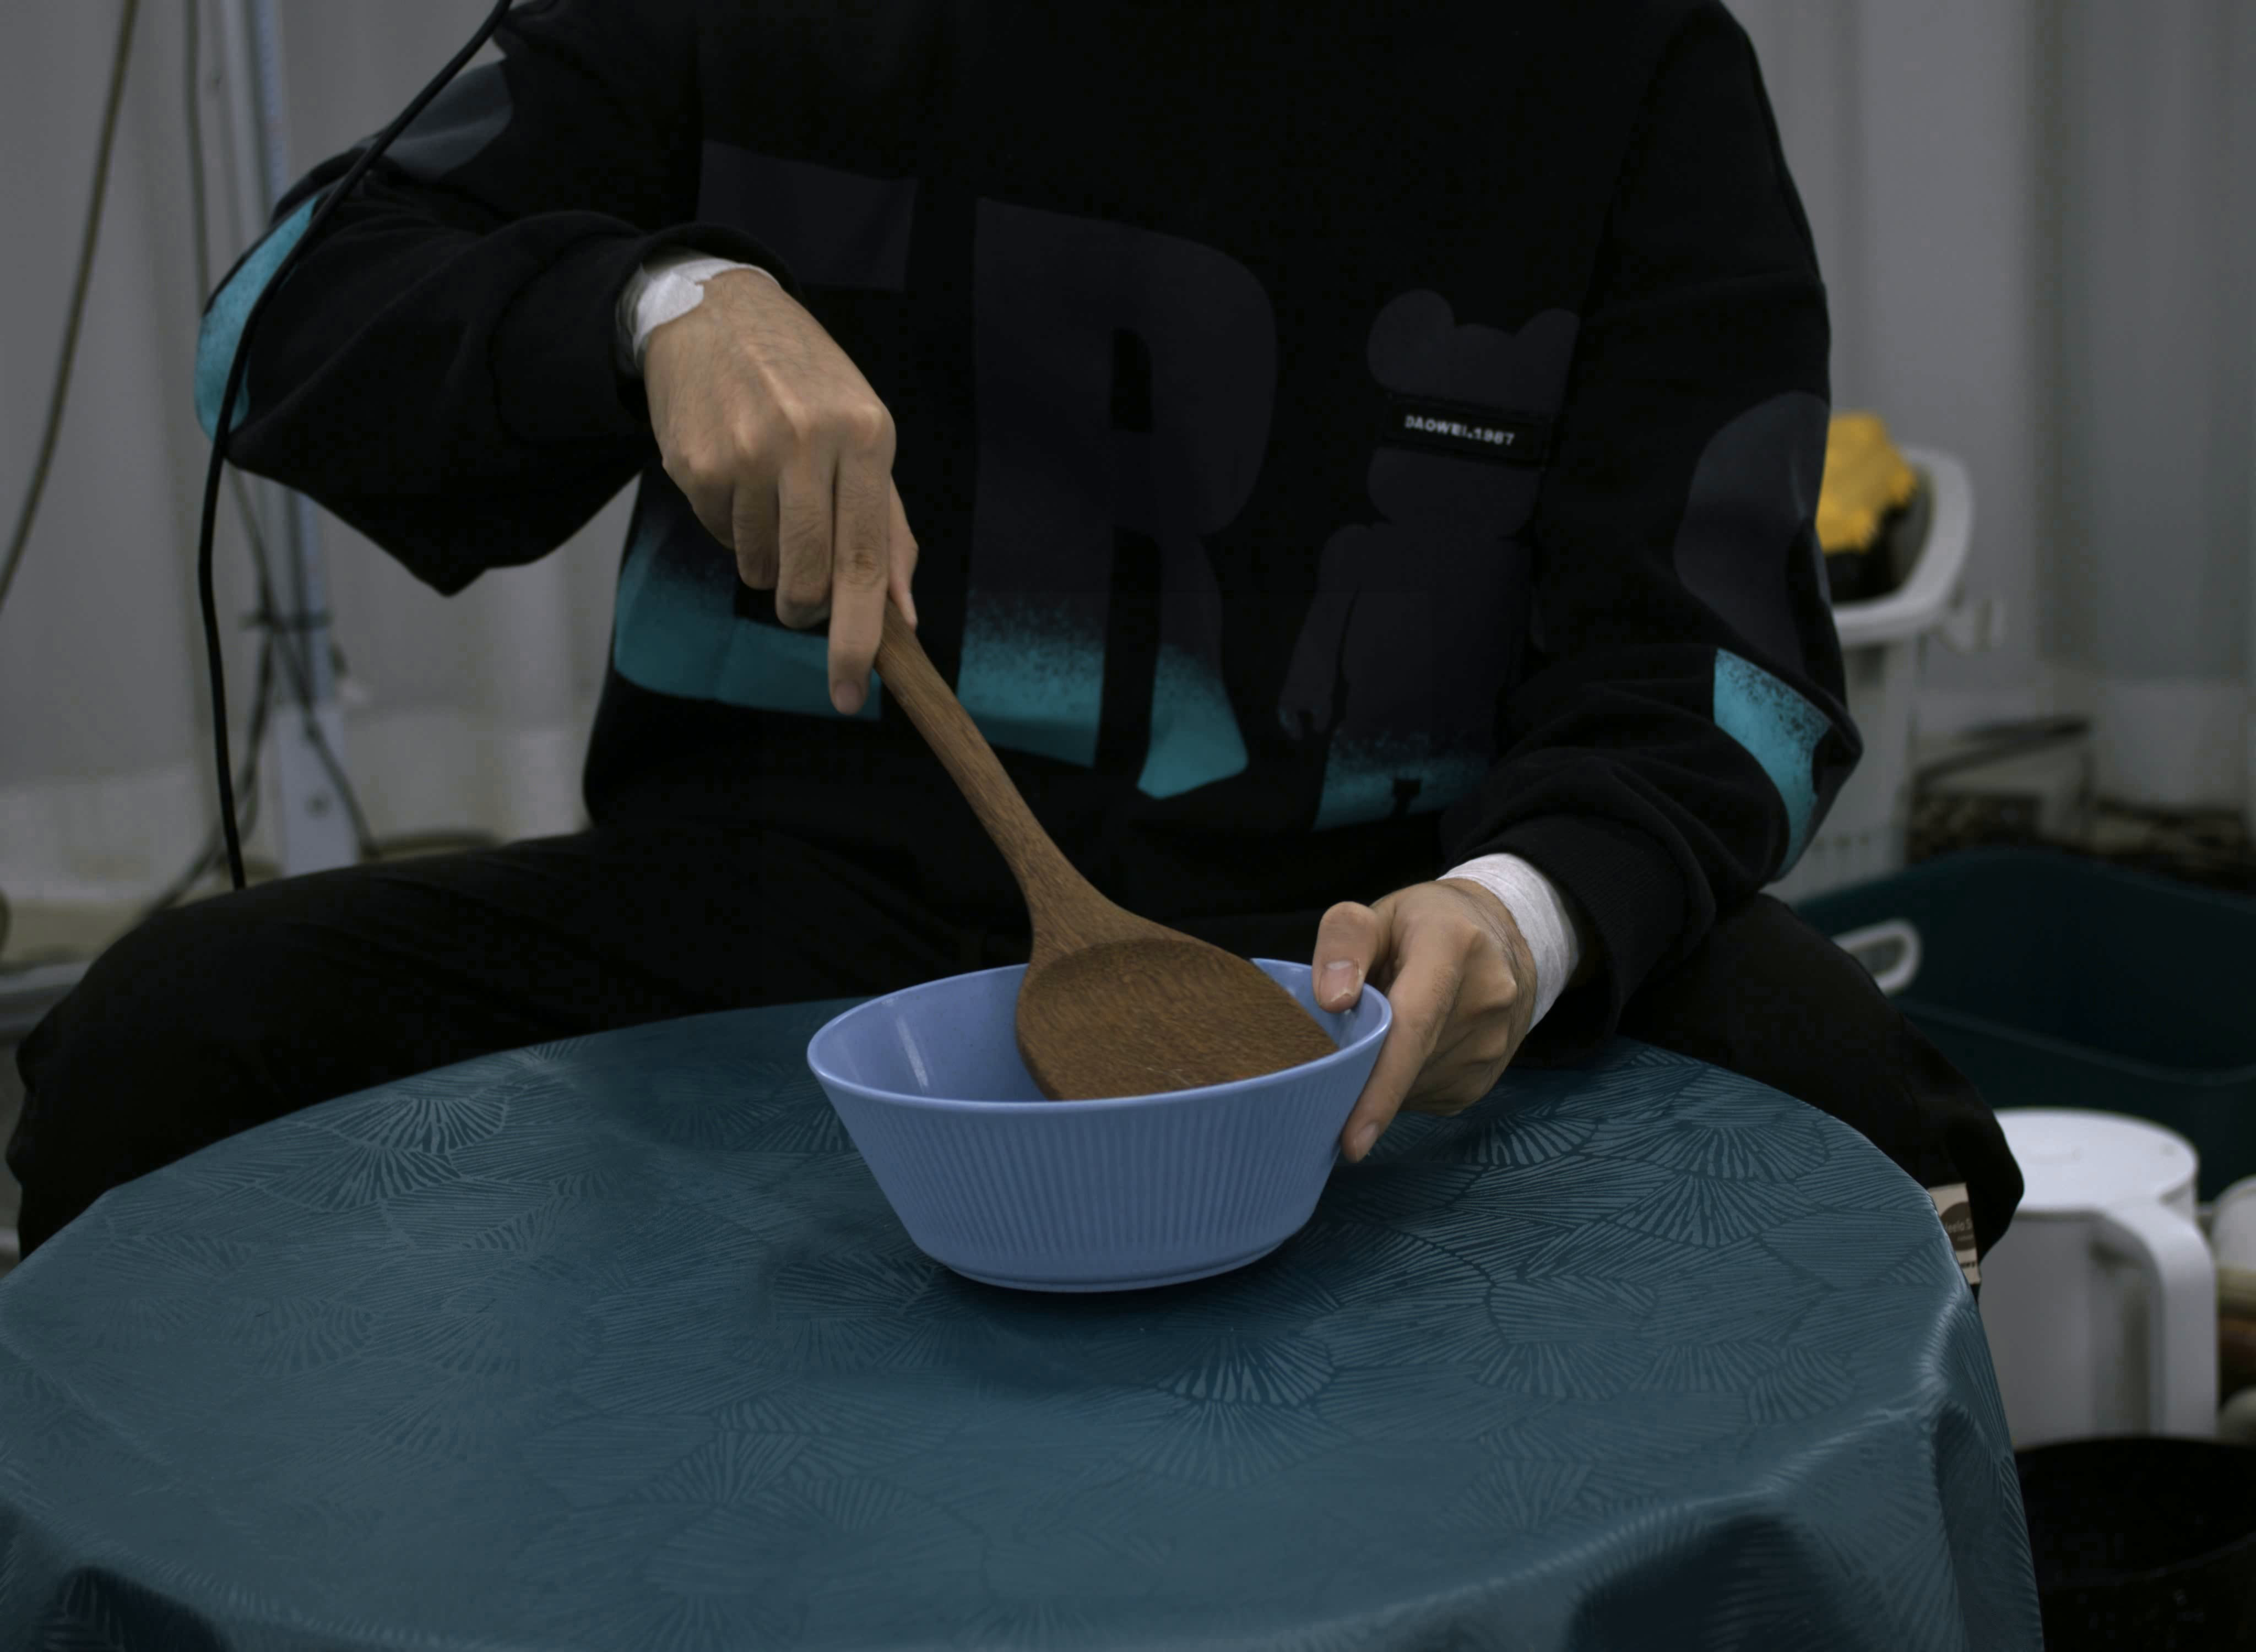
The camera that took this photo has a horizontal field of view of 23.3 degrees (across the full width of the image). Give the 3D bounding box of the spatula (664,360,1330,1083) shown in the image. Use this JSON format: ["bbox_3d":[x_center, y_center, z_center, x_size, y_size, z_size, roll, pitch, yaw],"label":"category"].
[{"bbox_3d":[-0.059,-0.032,1.745,0.096,0.015,0.391,-13,48,-28],"label":"spatula"}]

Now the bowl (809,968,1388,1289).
[{"bbox_3d":[-0.007,0.092,1.648,0.175,0.070,0.177,-3,11,0],"label":"bowl"}]
